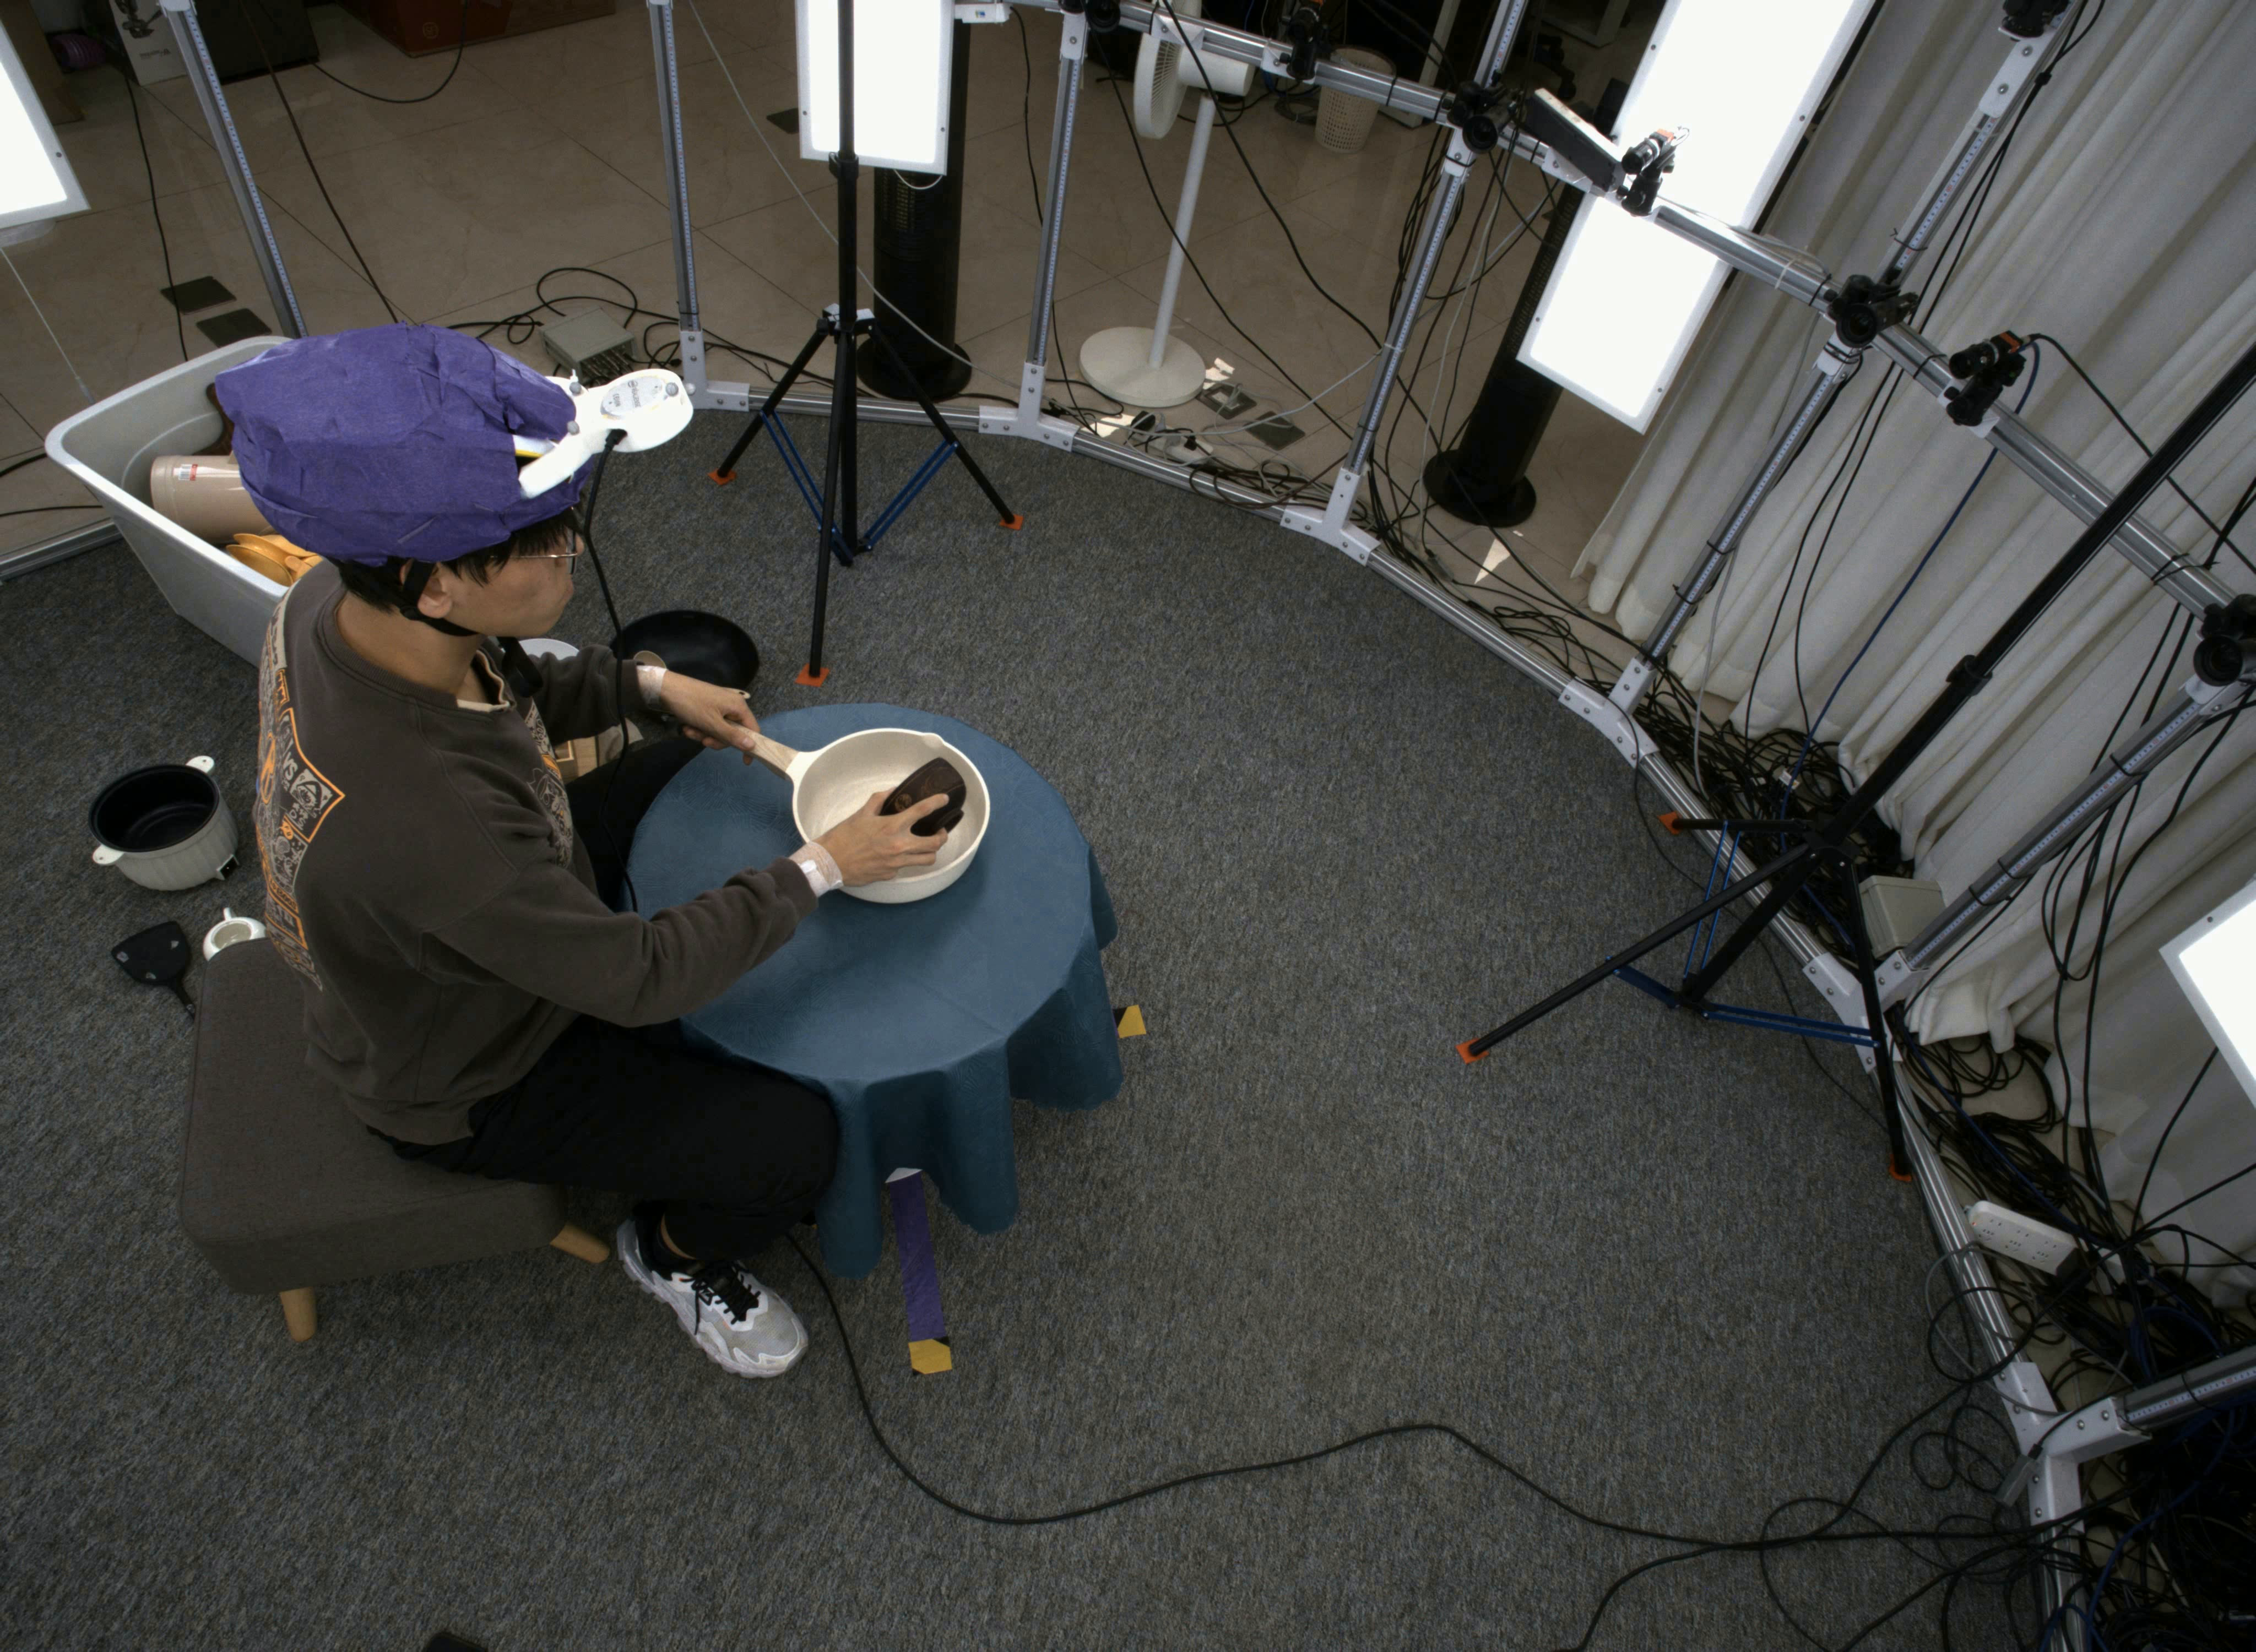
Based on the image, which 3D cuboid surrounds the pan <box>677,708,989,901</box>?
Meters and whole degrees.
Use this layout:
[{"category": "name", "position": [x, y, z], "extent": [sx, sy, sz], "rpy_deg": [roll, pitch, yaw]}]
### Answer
[{"category": "pan", "position": [-0.394, -0.048, 1.718], "extent": [0.430, 0.104, 0.261], "rpy_deg": [21, 54, 3]}]

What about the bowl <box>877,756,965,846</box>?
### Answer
[{"category": "bowl", "position": [-0.252, -0.023, 1.647], "extent": [0.069, 0.119, 0.118], "rpy_deg": [43, 56, 6]}]
